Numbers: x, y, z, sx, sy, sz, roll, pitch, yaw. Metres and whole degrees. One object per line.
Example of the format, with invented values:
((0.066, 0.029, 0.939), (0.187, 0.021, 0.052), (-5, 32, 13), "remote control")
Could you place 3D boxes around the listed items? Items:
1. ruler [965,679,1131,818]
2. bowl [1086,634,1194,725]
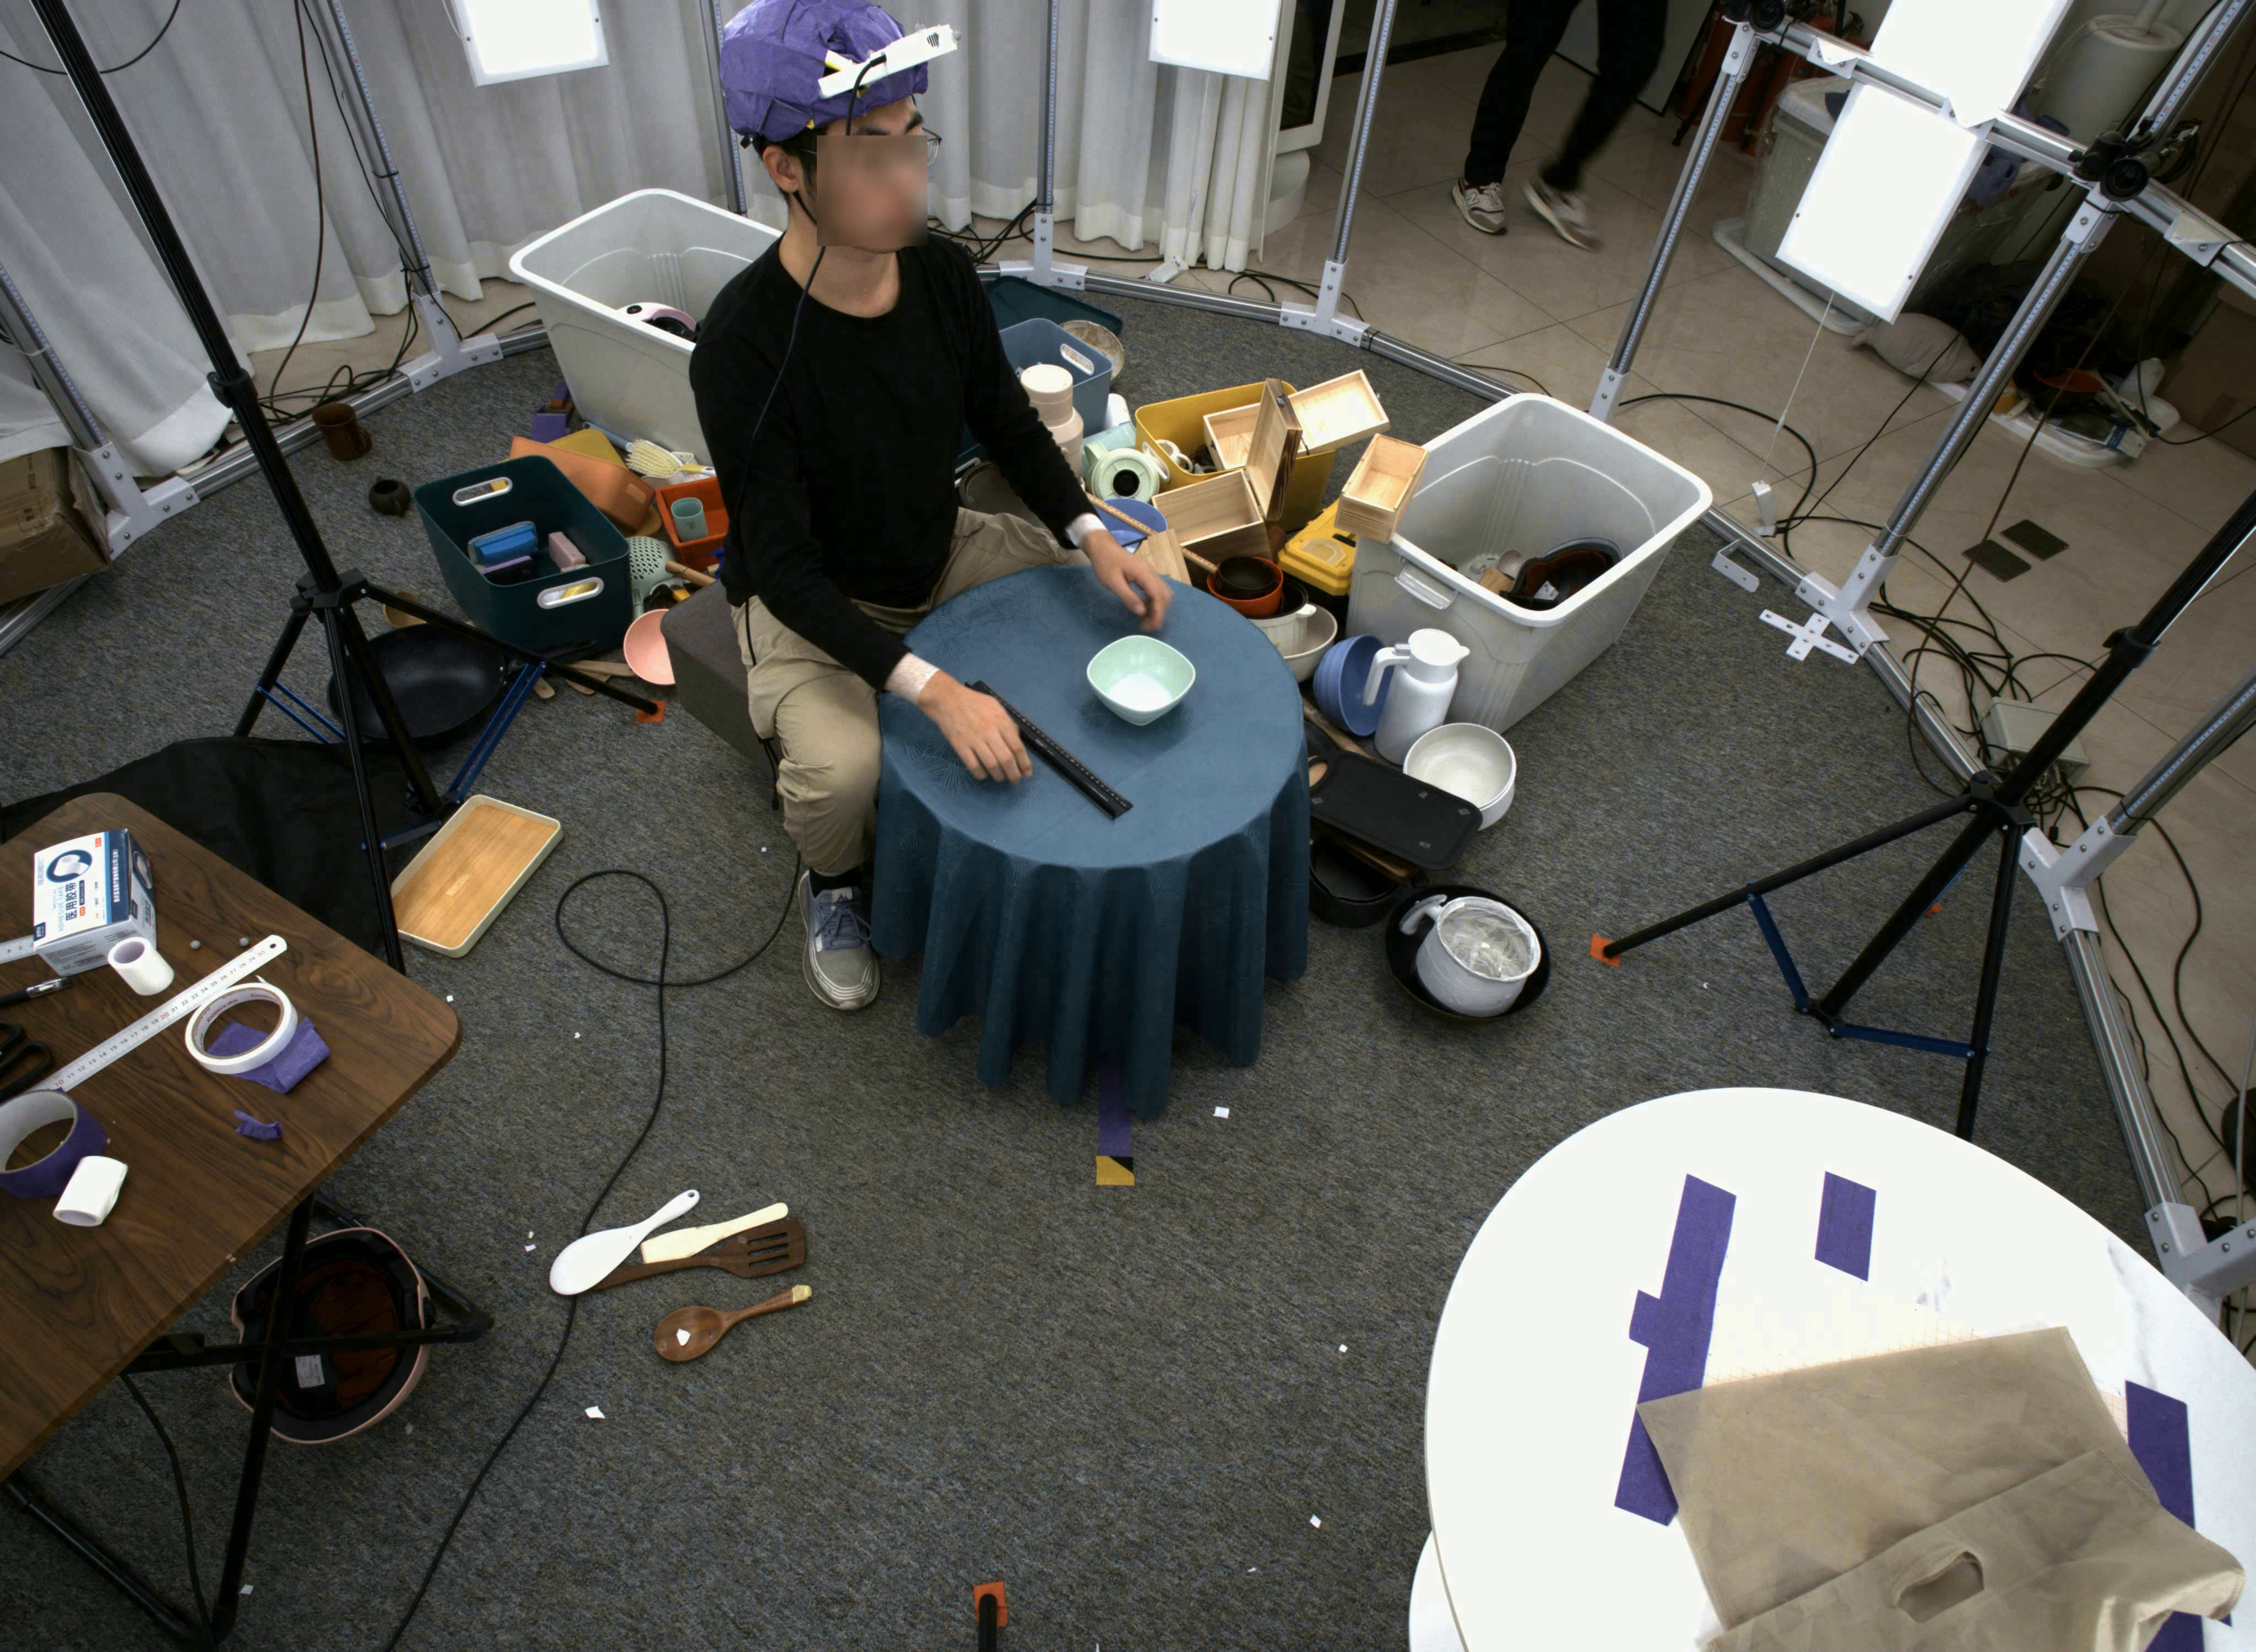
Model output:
((-0.112, -0.114, 1.751), (0.039, 0.017, 0.317), (-30, 57, -31), "ruler")
((0.016, -0.197, 1.806), (0.151, 0.057, 0.155), (2, 51, -3), "bowl")
